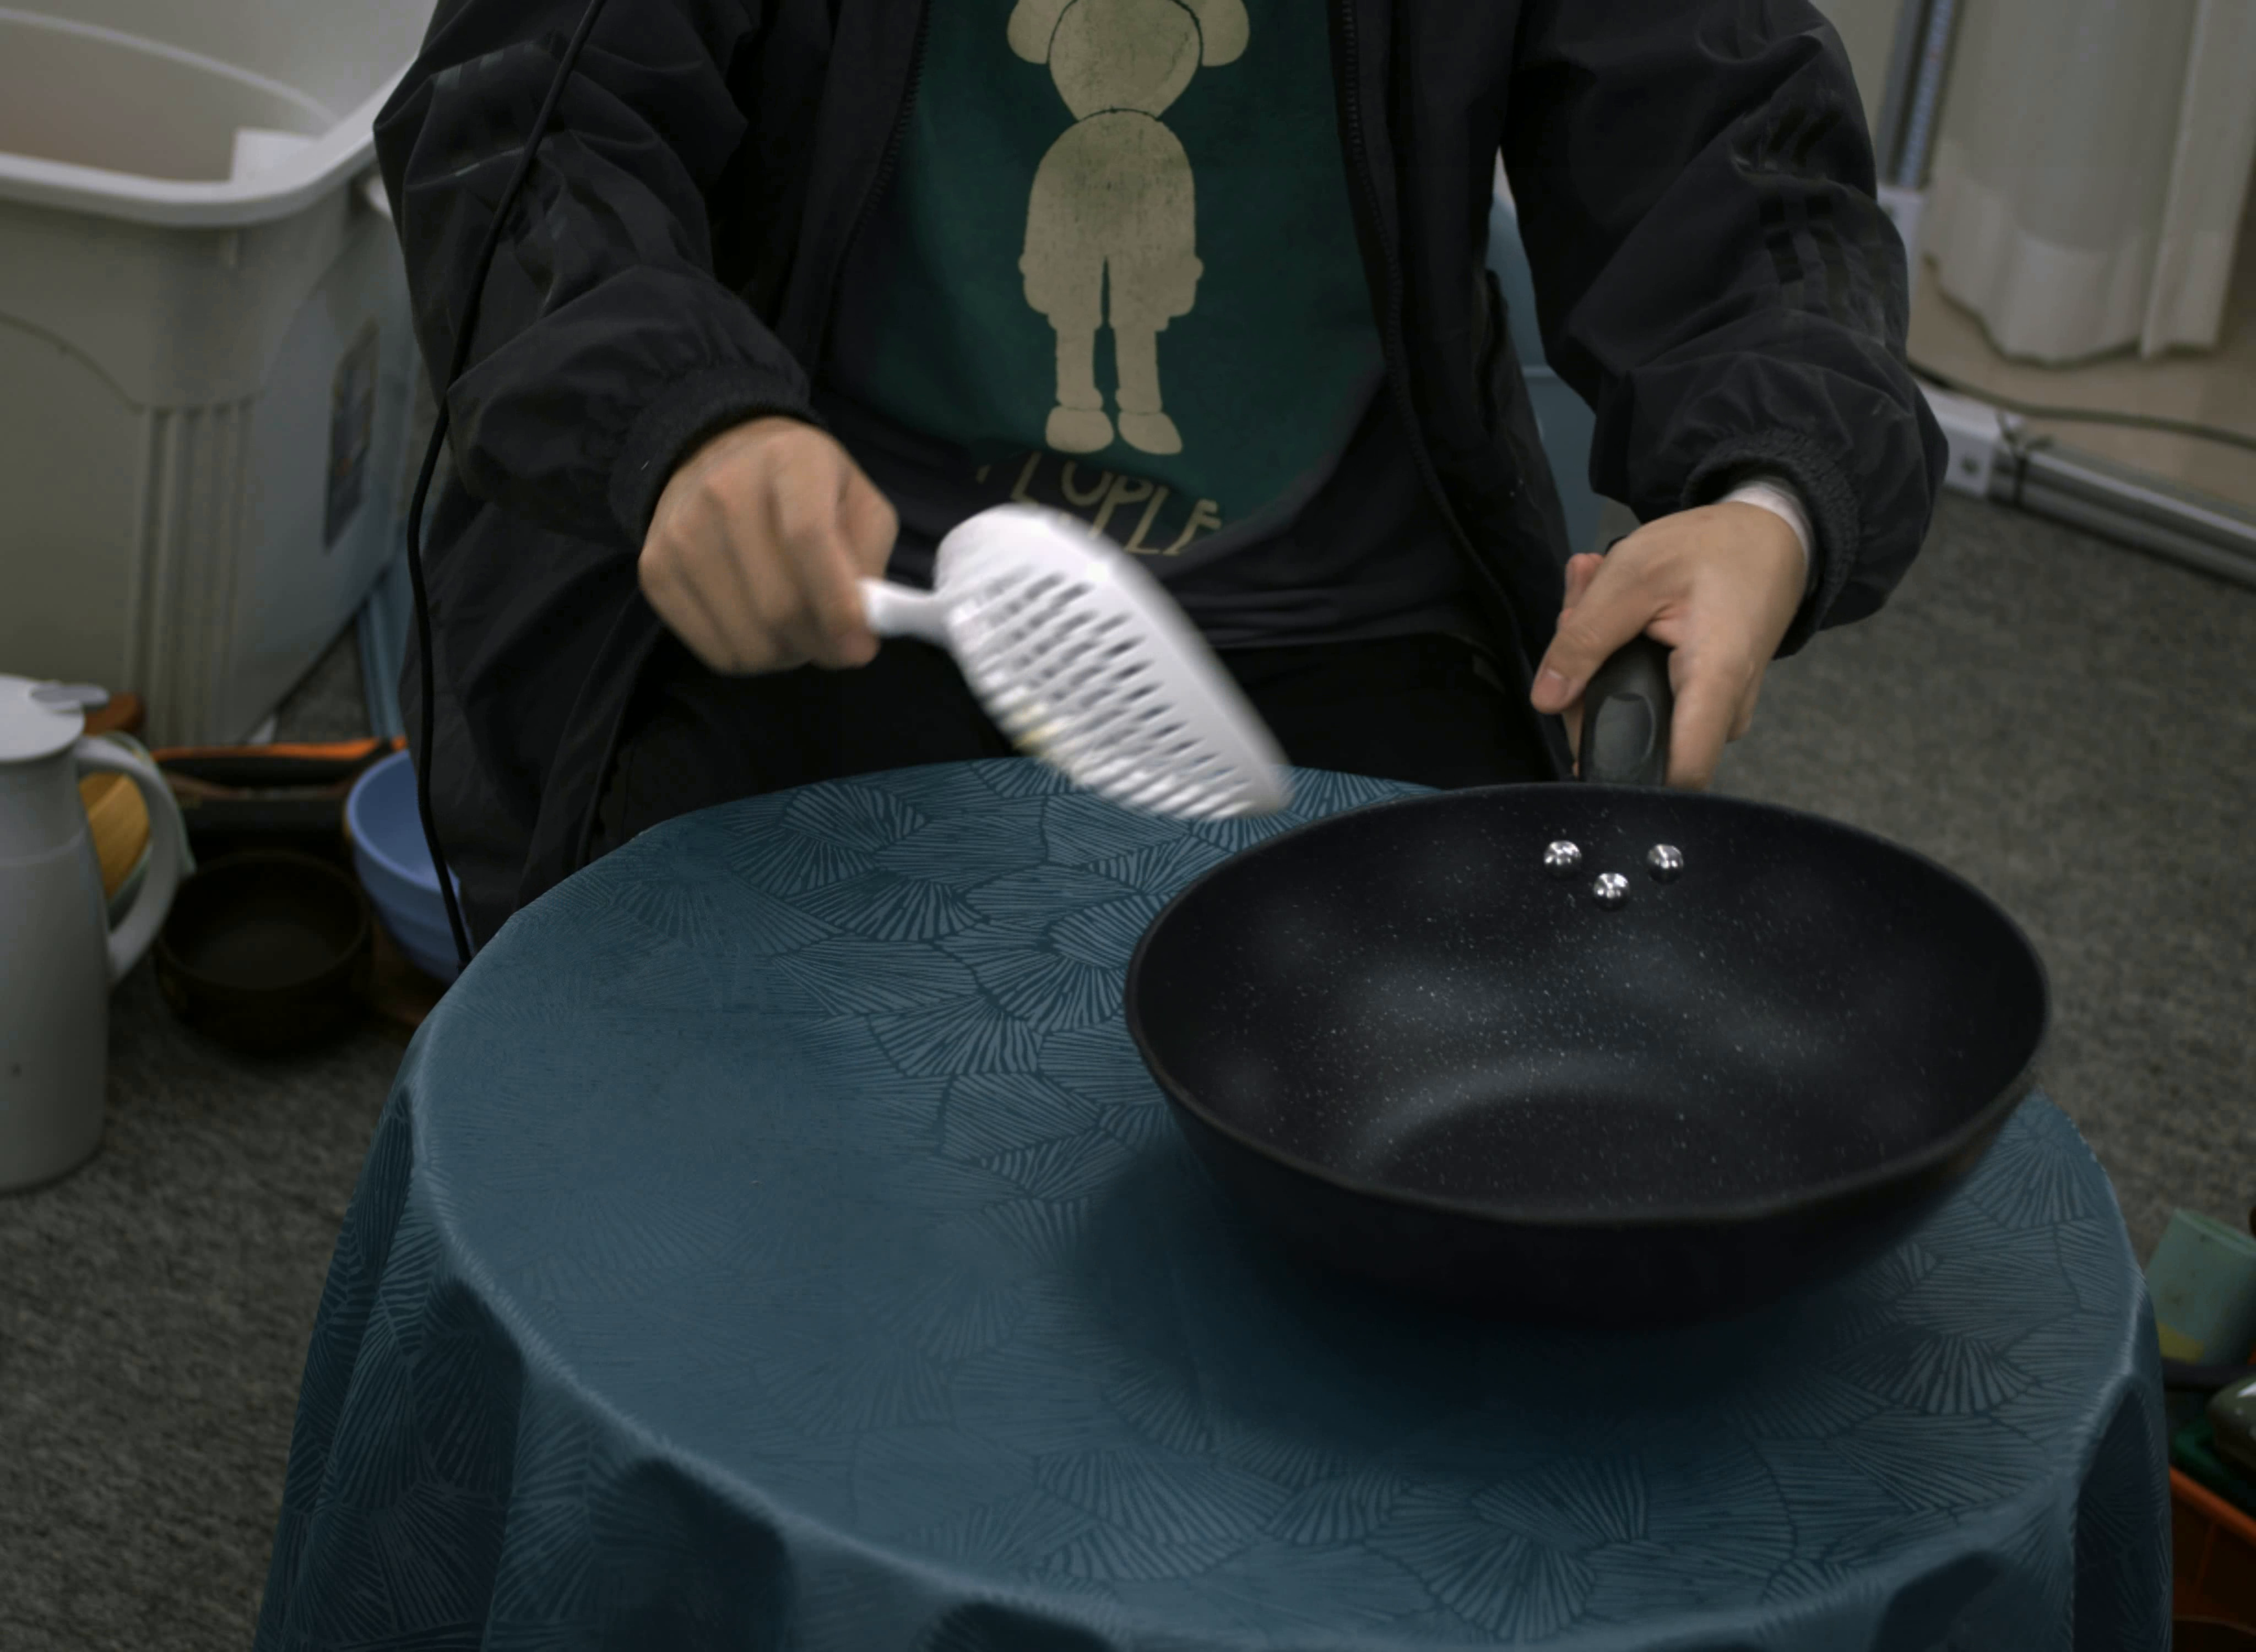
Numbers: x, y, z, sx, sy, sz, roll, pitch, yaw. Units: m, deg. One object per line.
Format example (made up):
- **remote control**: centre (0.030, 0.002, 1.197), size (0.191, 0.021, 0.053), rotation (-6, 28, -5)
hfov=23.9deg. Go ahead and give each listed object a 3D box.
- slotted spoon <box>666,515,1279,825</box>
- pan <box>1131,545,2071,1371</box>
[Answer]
- **slotted spoon**: centre (-0.068, -0.056, 1.802), size (0.050, 0.136, 0.350), rotation (-46, 26, -12)
- **pan**: centre (0.166, 0.049, 1.844), size (0.310, 0.111, 0.479), rotation (4, 28, 7)
